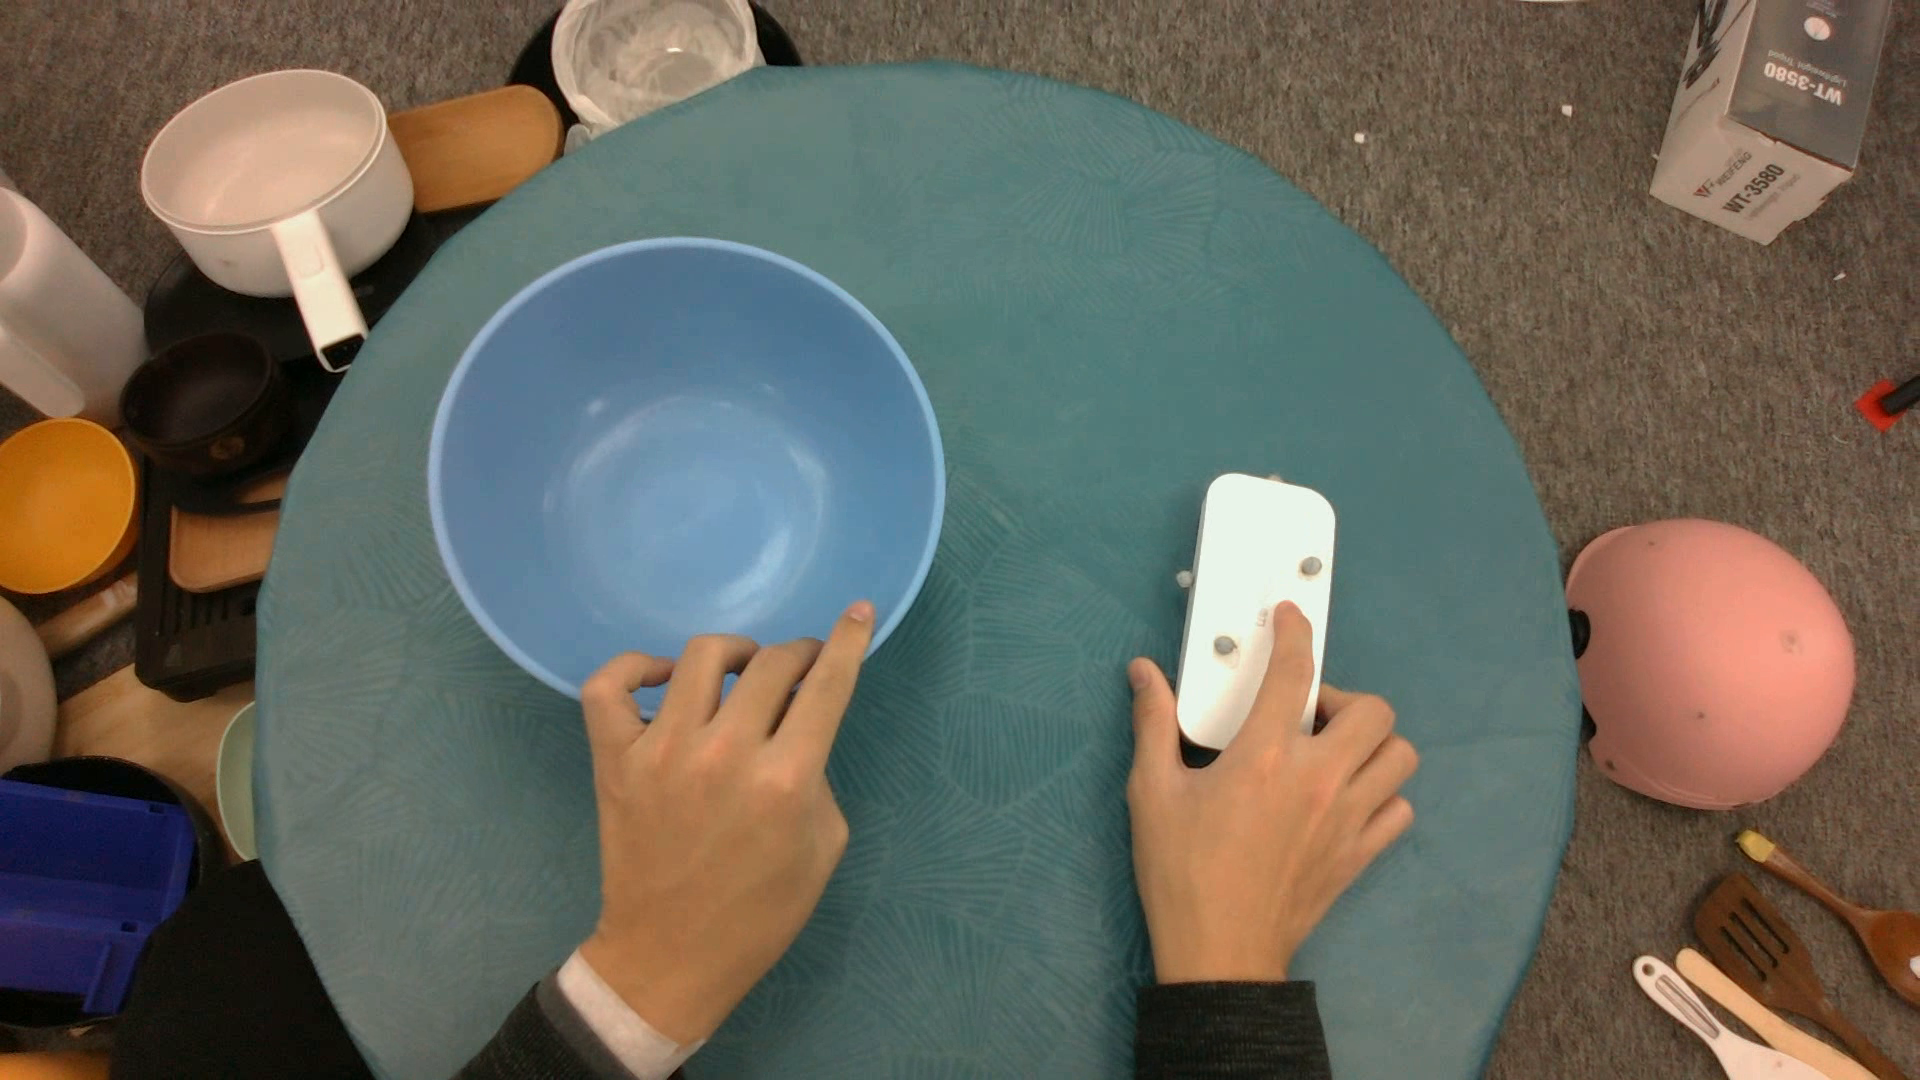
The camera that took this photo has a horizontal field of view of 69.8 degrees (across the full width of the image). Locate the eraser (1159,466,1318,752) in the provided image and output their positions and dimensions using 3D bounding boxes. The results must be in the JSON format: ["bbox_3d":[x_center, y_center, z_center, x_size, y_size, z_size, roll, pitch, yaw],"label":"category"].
[{"bbox_3d":[0.126,0.030,0.630,0.063,0.034,0.132,12,69,-1],"label":"eraser"}]

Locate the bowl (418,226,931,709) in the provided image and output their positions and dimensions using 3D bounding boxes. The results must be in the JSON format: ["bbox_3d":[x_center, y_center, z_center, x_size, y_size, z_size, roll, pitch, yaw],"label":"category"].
[{"bbox_3d":[-0.117,-0.022,0.580,0.197,0.095,0.197,3,75,-13],"label":"bowl"}]
